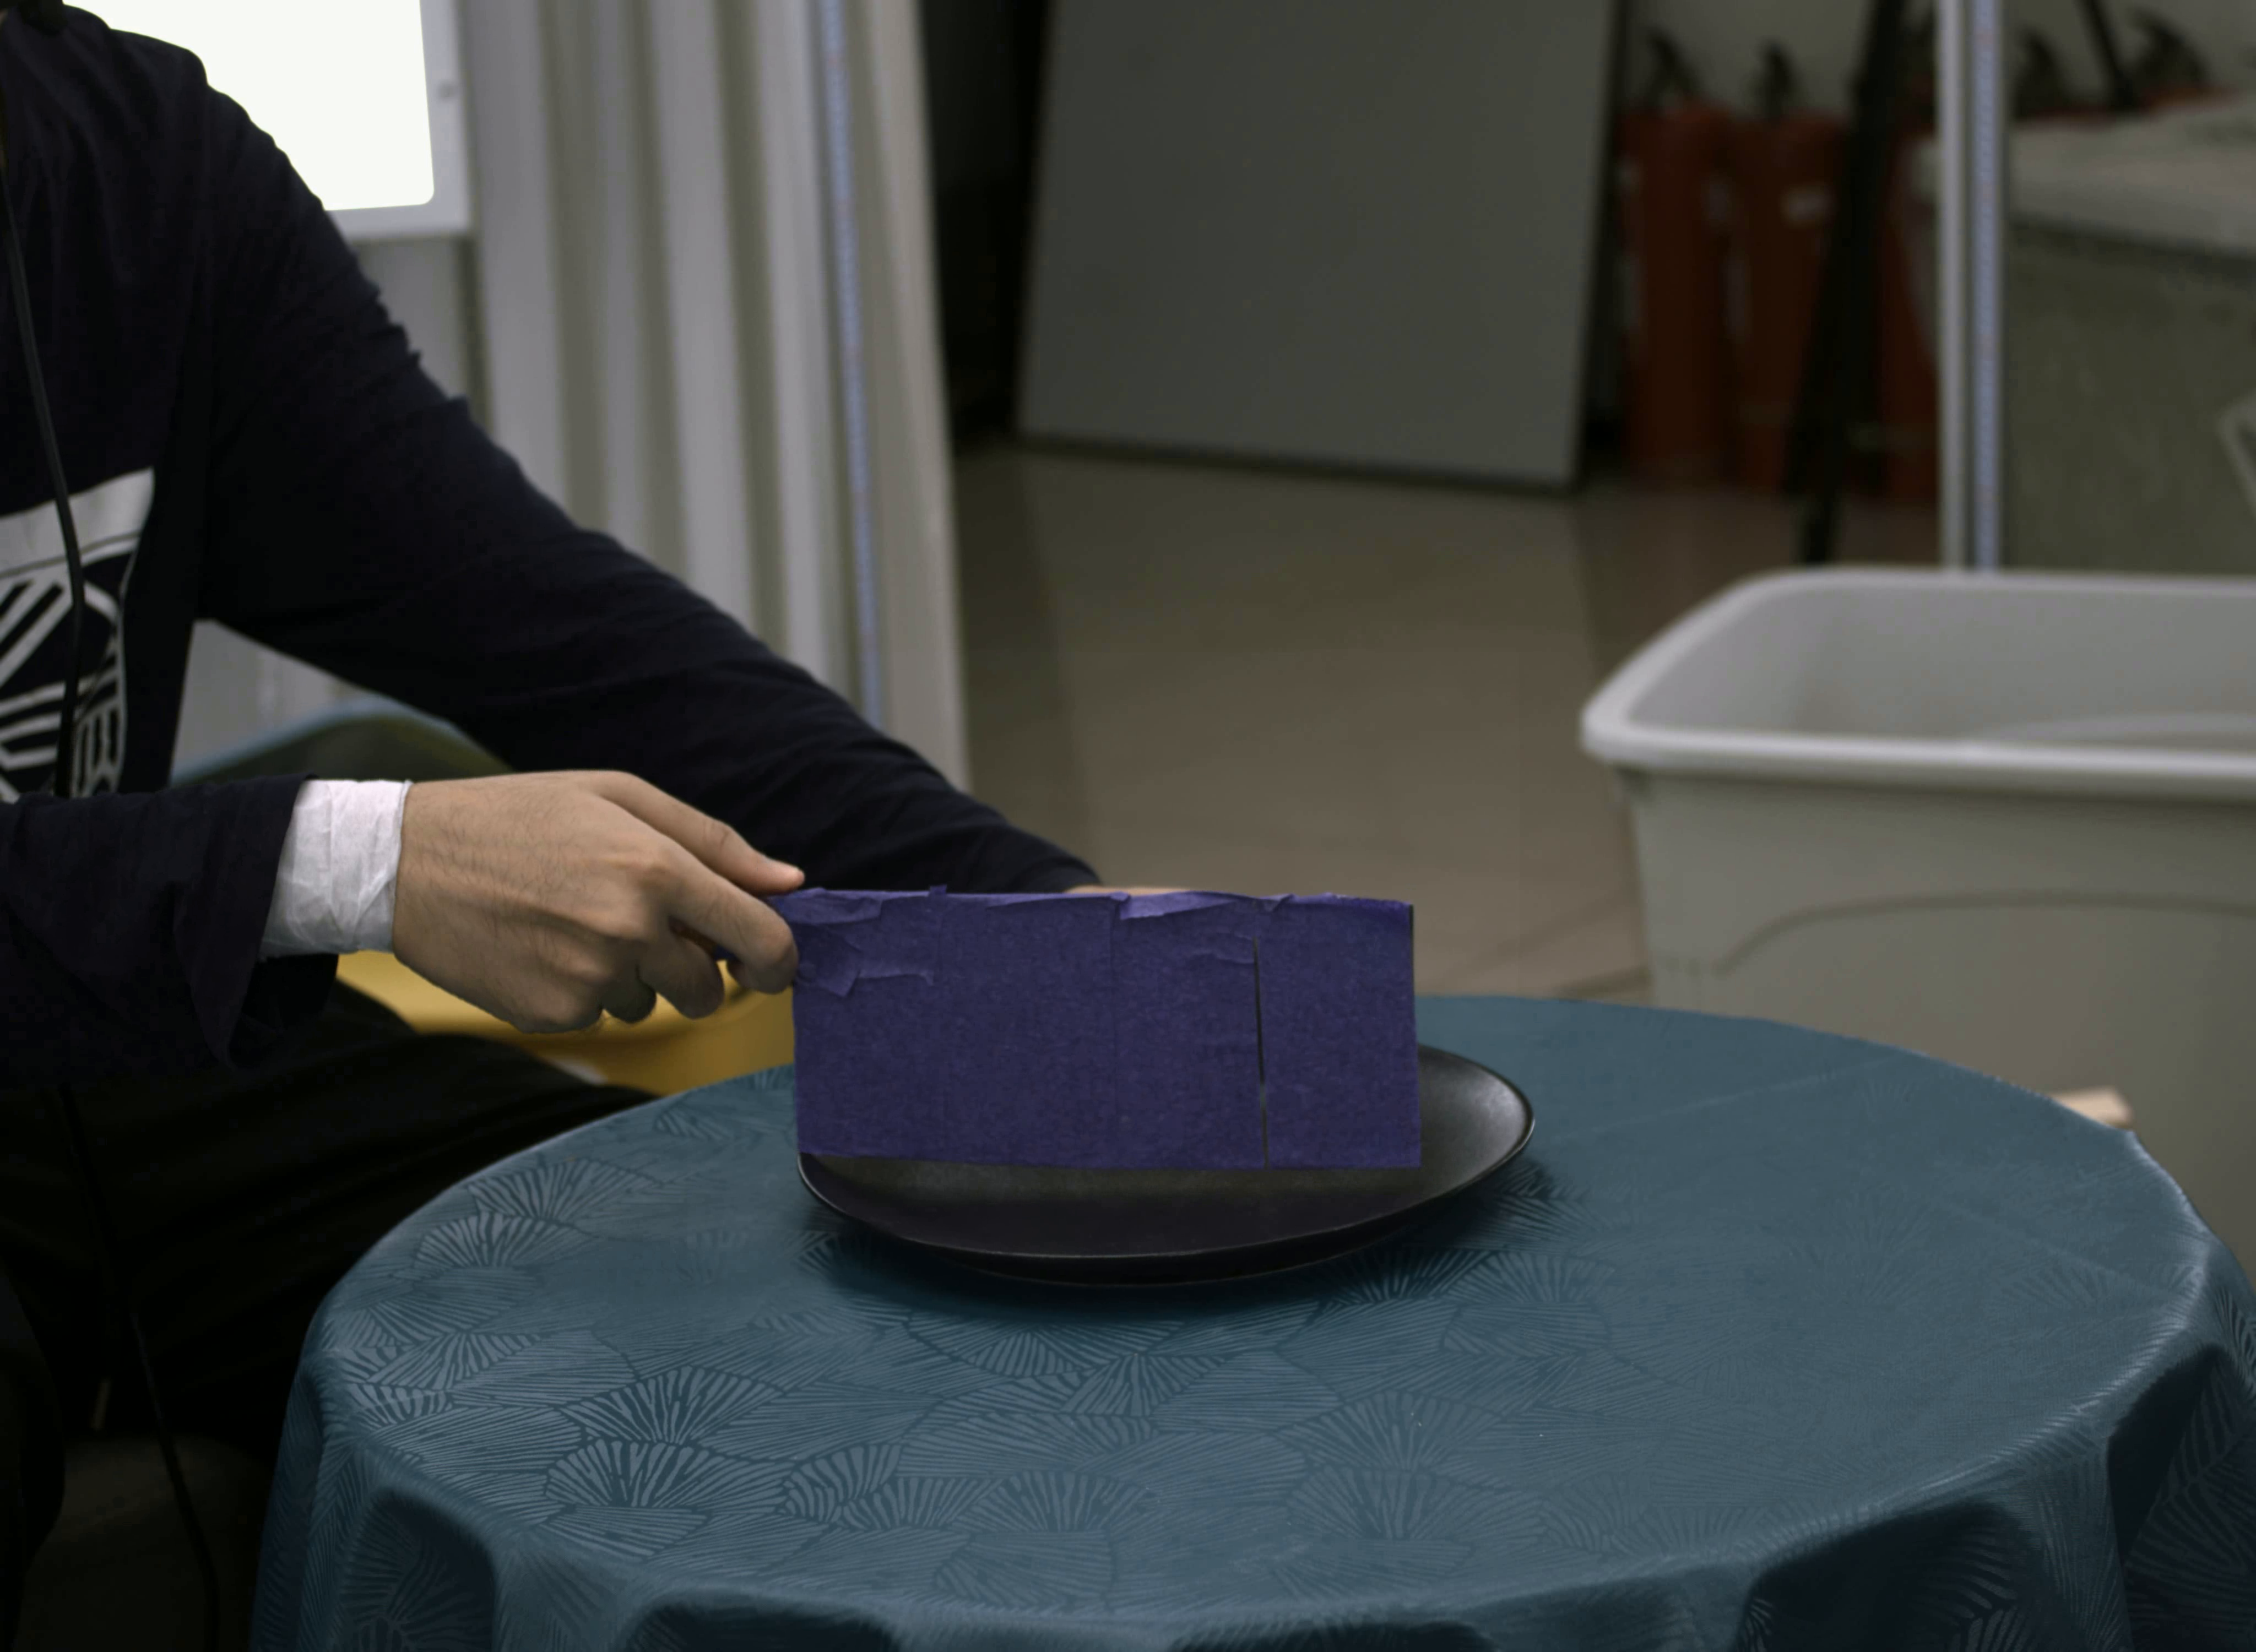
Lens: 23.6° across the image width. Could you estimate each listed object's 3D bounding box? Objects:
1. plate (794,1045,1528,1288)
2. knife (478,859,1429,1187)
[{"bbox_3d":[0.011,0.111,1.761,0.241,0.024,0.245,-4,14,0],"label":"plate"},{"bbox_3d":[-0.058,0.064,1.747,0.313,0.105,0.032,0,7,14],"label":"knife"}]
